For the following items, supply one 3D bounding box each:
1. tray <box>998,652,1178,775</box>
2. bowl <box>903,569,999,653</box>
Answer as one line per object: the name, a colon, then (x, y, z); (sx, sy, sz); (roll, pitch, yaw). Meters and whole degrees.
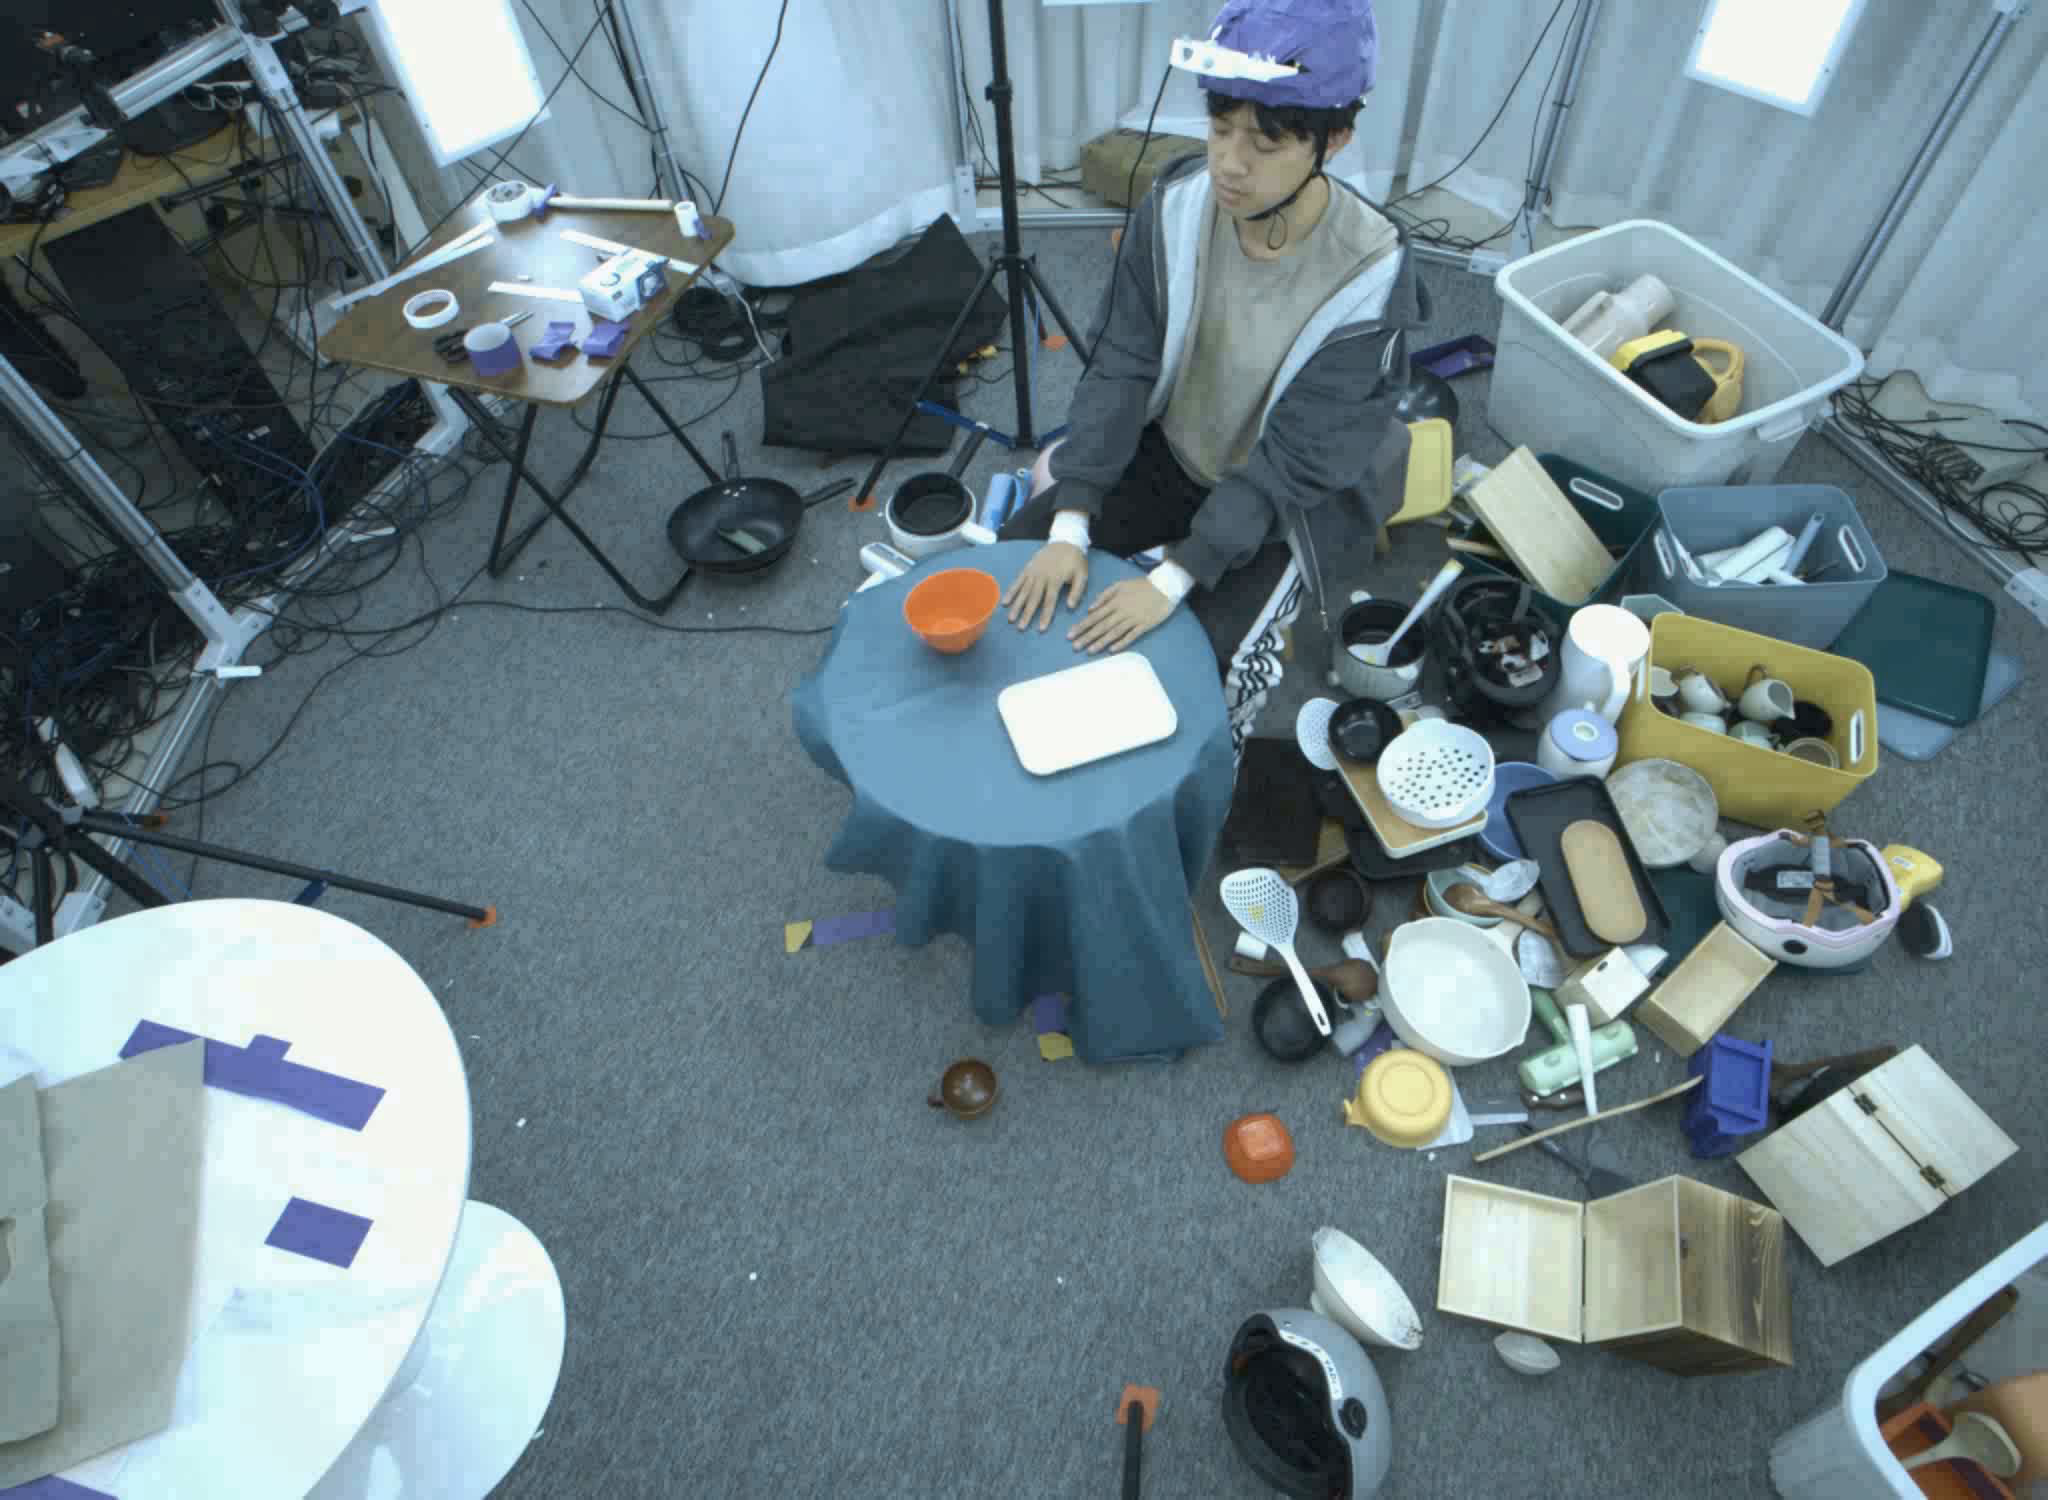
tray: (0.093, -0.054, 1.815); (0.241, 0.017, 0.168); (-17, 55, -10)
bowl: (-0.108, -0.200, 1.873); (0.148, 0.106, 0.146); (-1, 56, 3)
